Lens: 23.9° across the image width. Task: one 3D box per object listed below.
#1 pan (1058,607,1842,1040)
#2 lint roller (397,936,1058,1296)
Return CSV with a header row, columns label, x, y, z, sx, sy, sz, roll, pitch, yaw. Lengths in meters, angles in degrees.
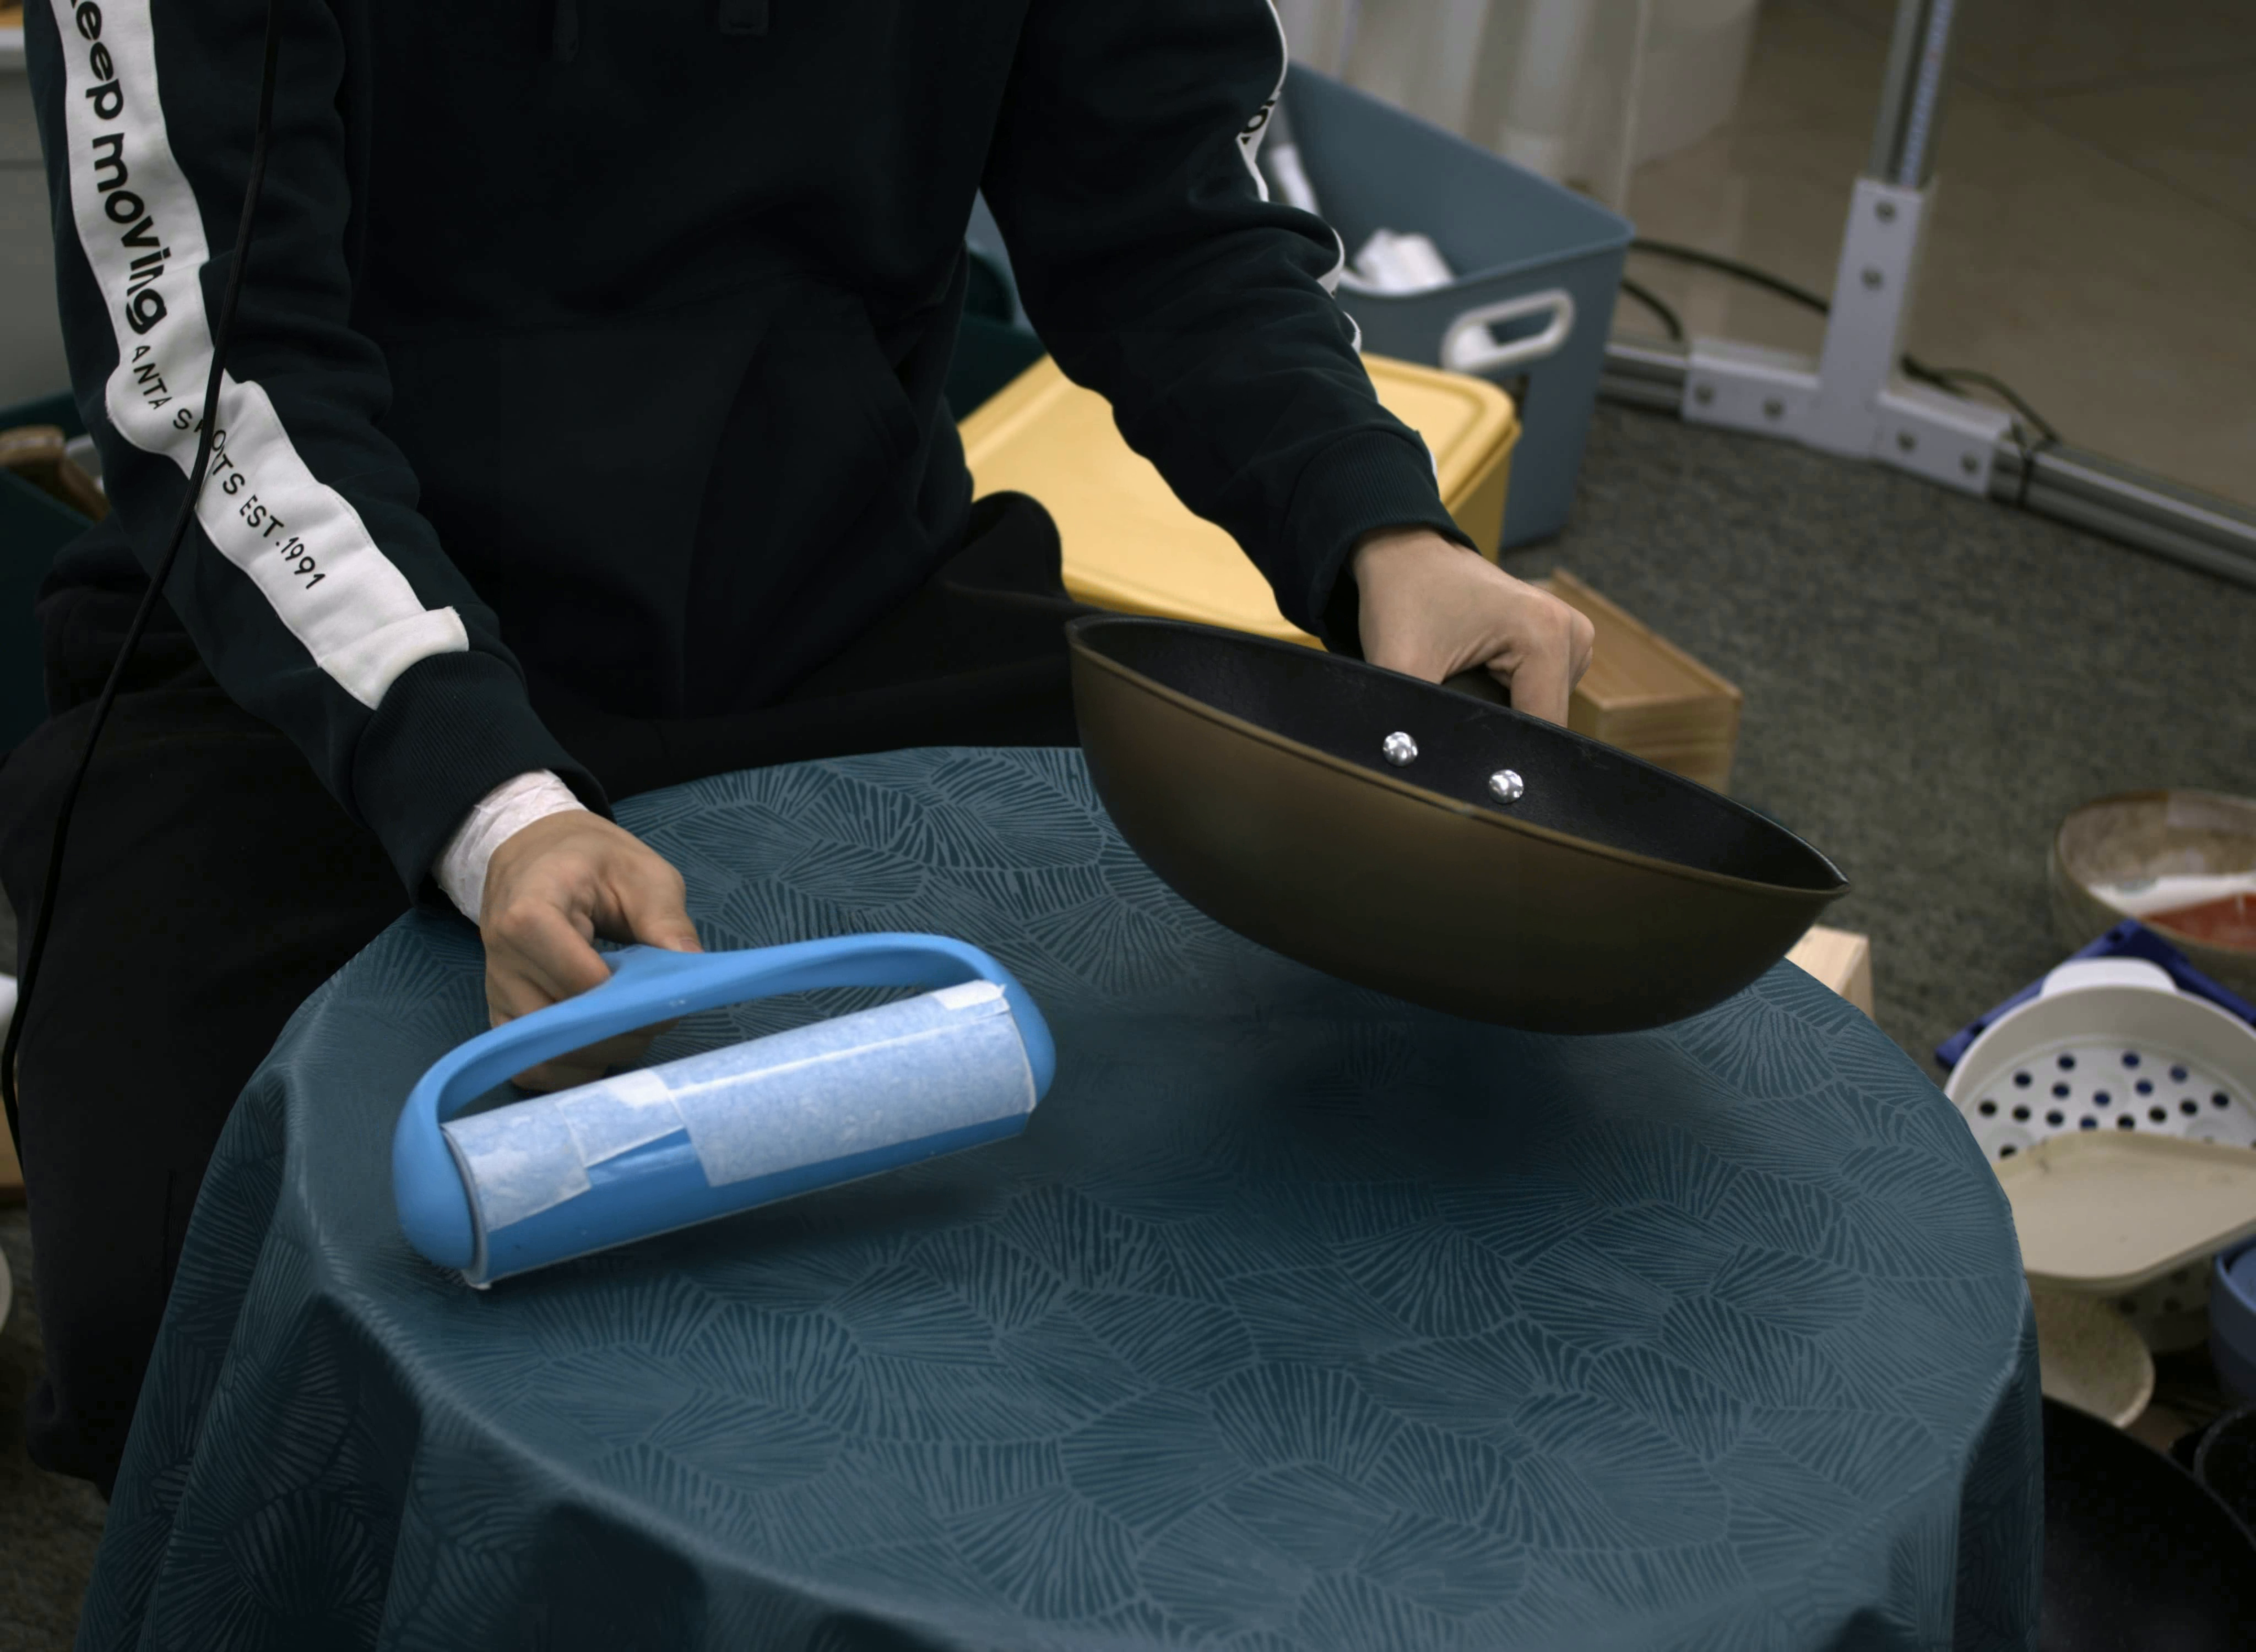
label,x,y,z,sx,sy,sz,roll,pitch,yaw
pan,0.110,-0.003,1.934,0.288,0.087,0.463,20,9,4
lint roller,-0.156,0.077,1.777,0.228,0.067,0.182,-18,30,-24
